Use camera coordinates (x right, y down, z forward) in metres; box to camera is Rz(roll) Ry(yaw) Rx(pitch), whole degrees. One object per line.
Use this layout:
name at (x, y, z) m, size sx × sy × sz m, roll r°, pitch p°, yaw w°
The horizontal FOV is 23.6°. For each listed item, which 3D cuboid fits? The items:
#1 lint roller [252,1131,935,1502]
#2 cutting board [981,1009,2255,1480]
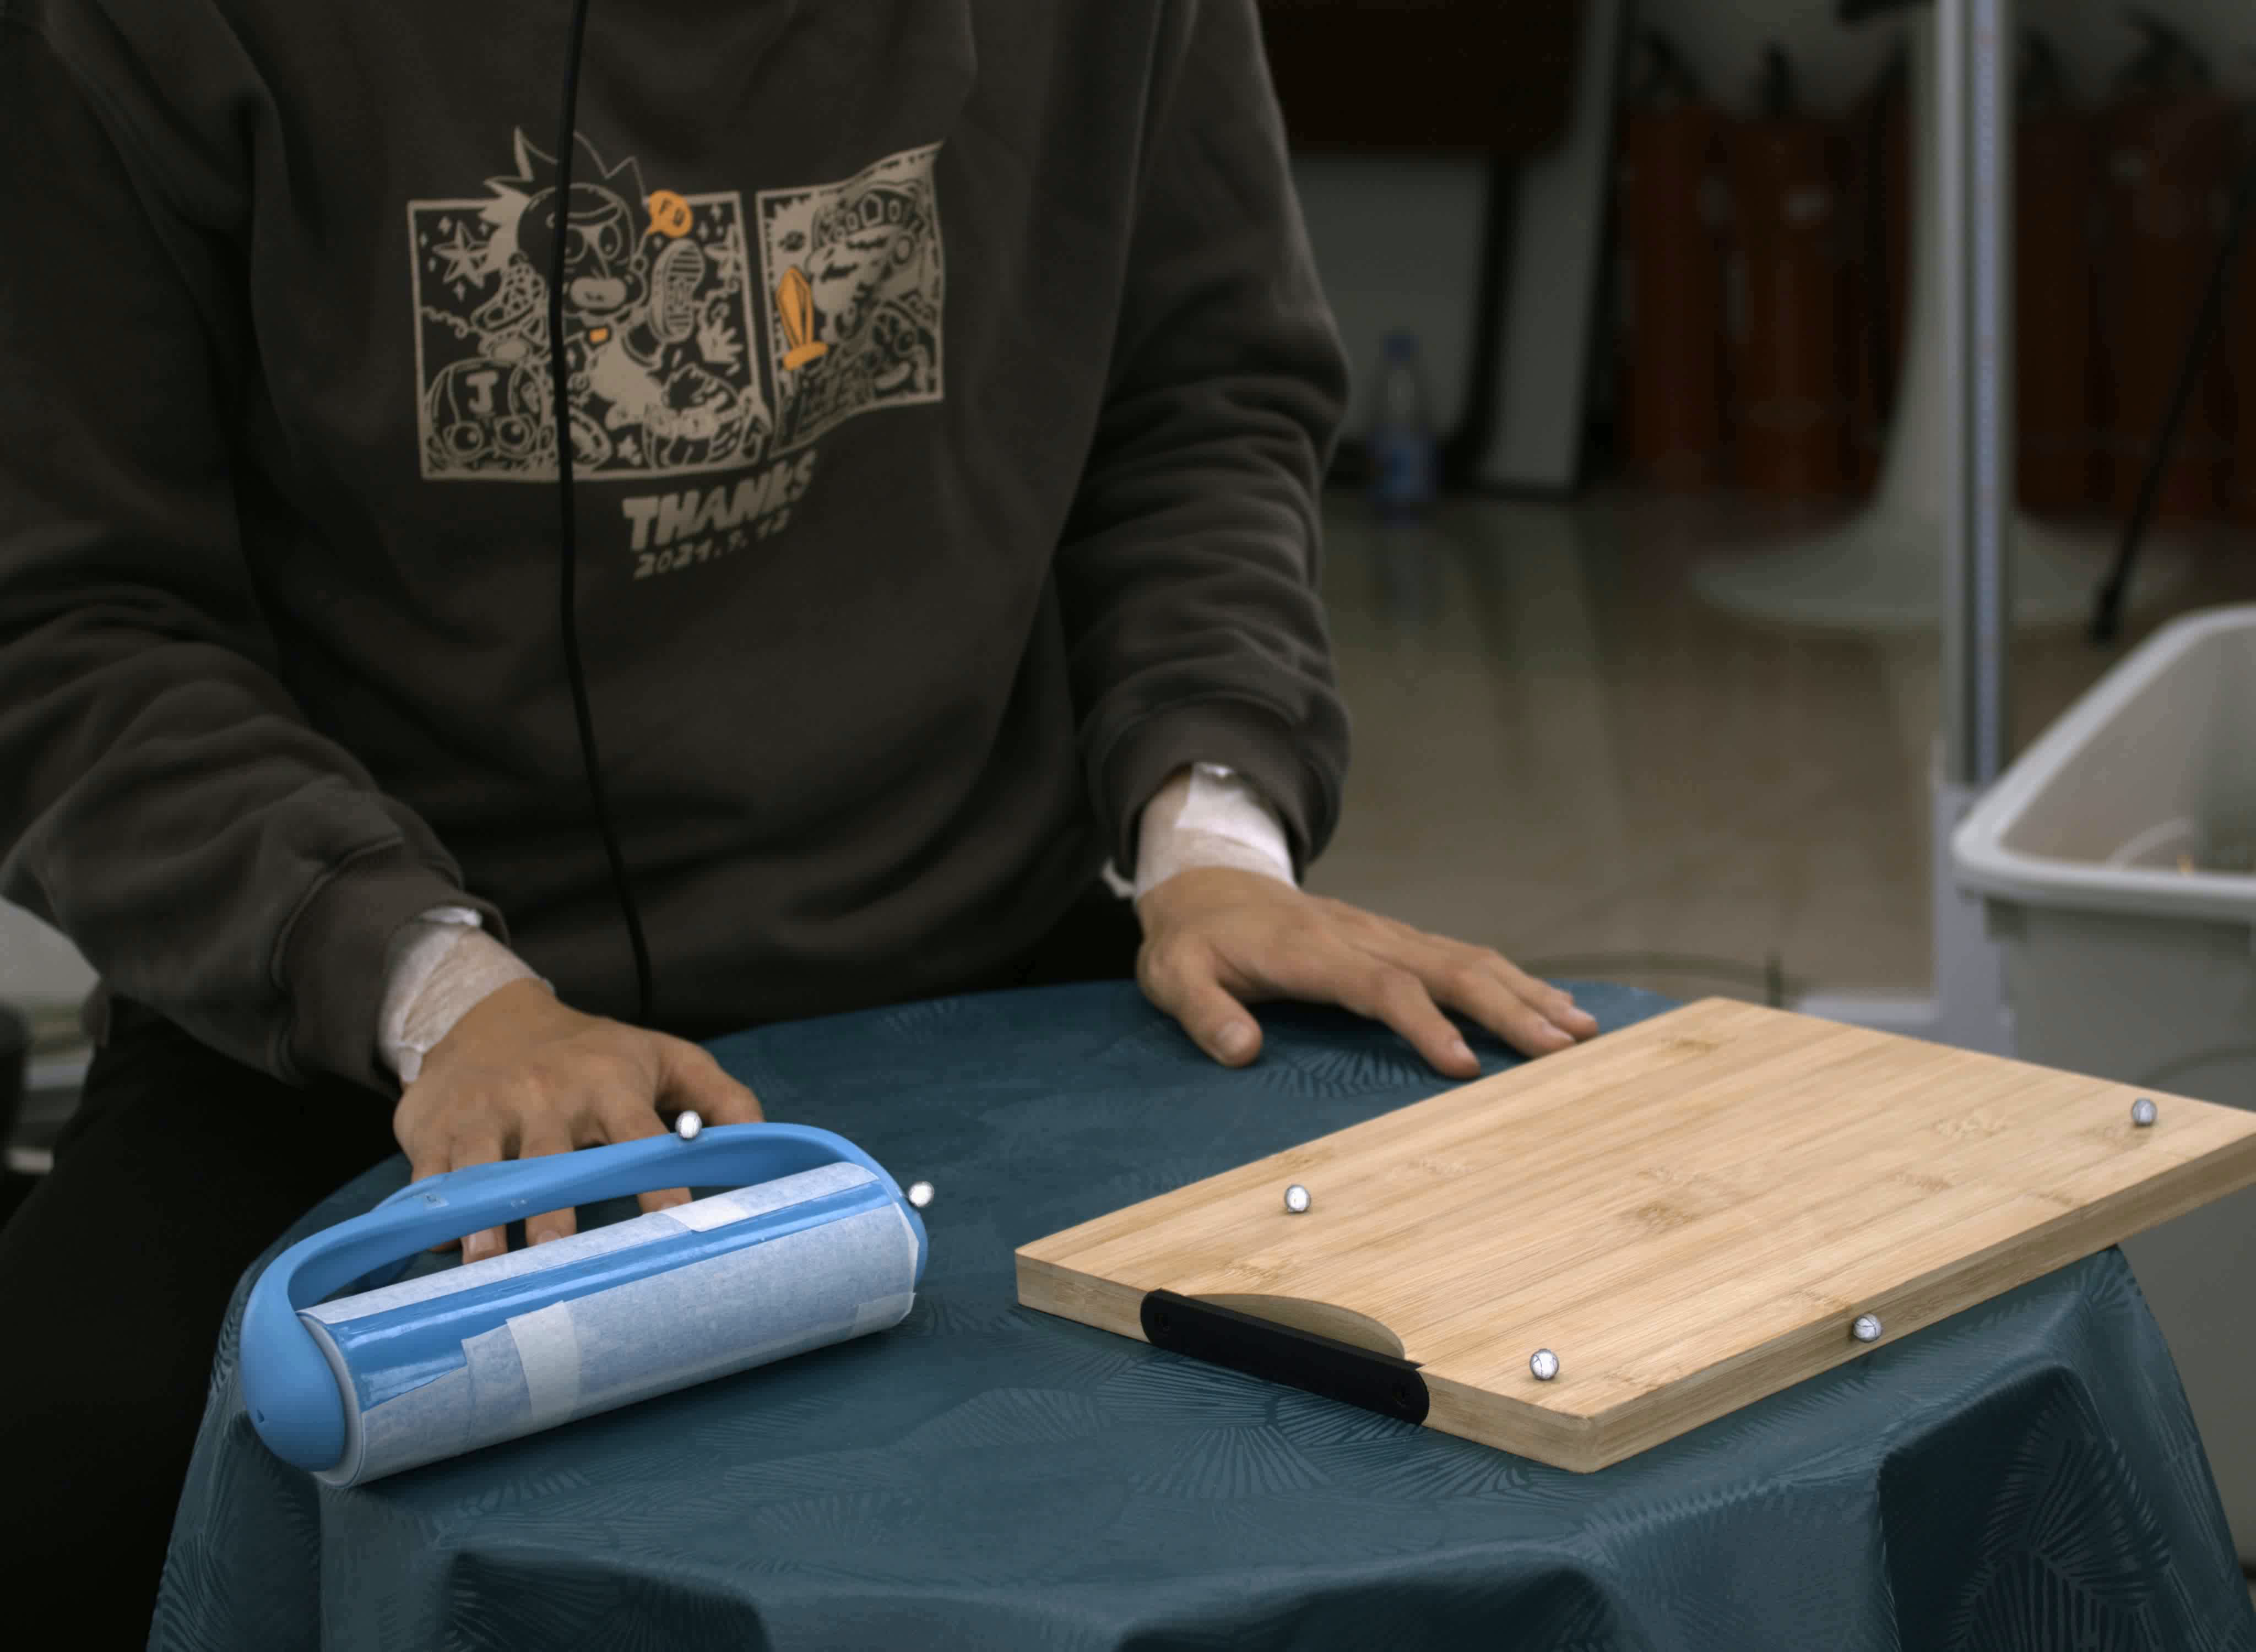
lint roller at (-0.190, 0.138, 1.645) m, size 0.224 × 0.068 × 0.182 m, roll -16°, pitch 19°, yaw -36°
cutting board at (0.161, 0.124, 1.685) m, size 0.341 × 0.024 × 0.253 m, roll -16°, pitch 17°, yaw -41°
